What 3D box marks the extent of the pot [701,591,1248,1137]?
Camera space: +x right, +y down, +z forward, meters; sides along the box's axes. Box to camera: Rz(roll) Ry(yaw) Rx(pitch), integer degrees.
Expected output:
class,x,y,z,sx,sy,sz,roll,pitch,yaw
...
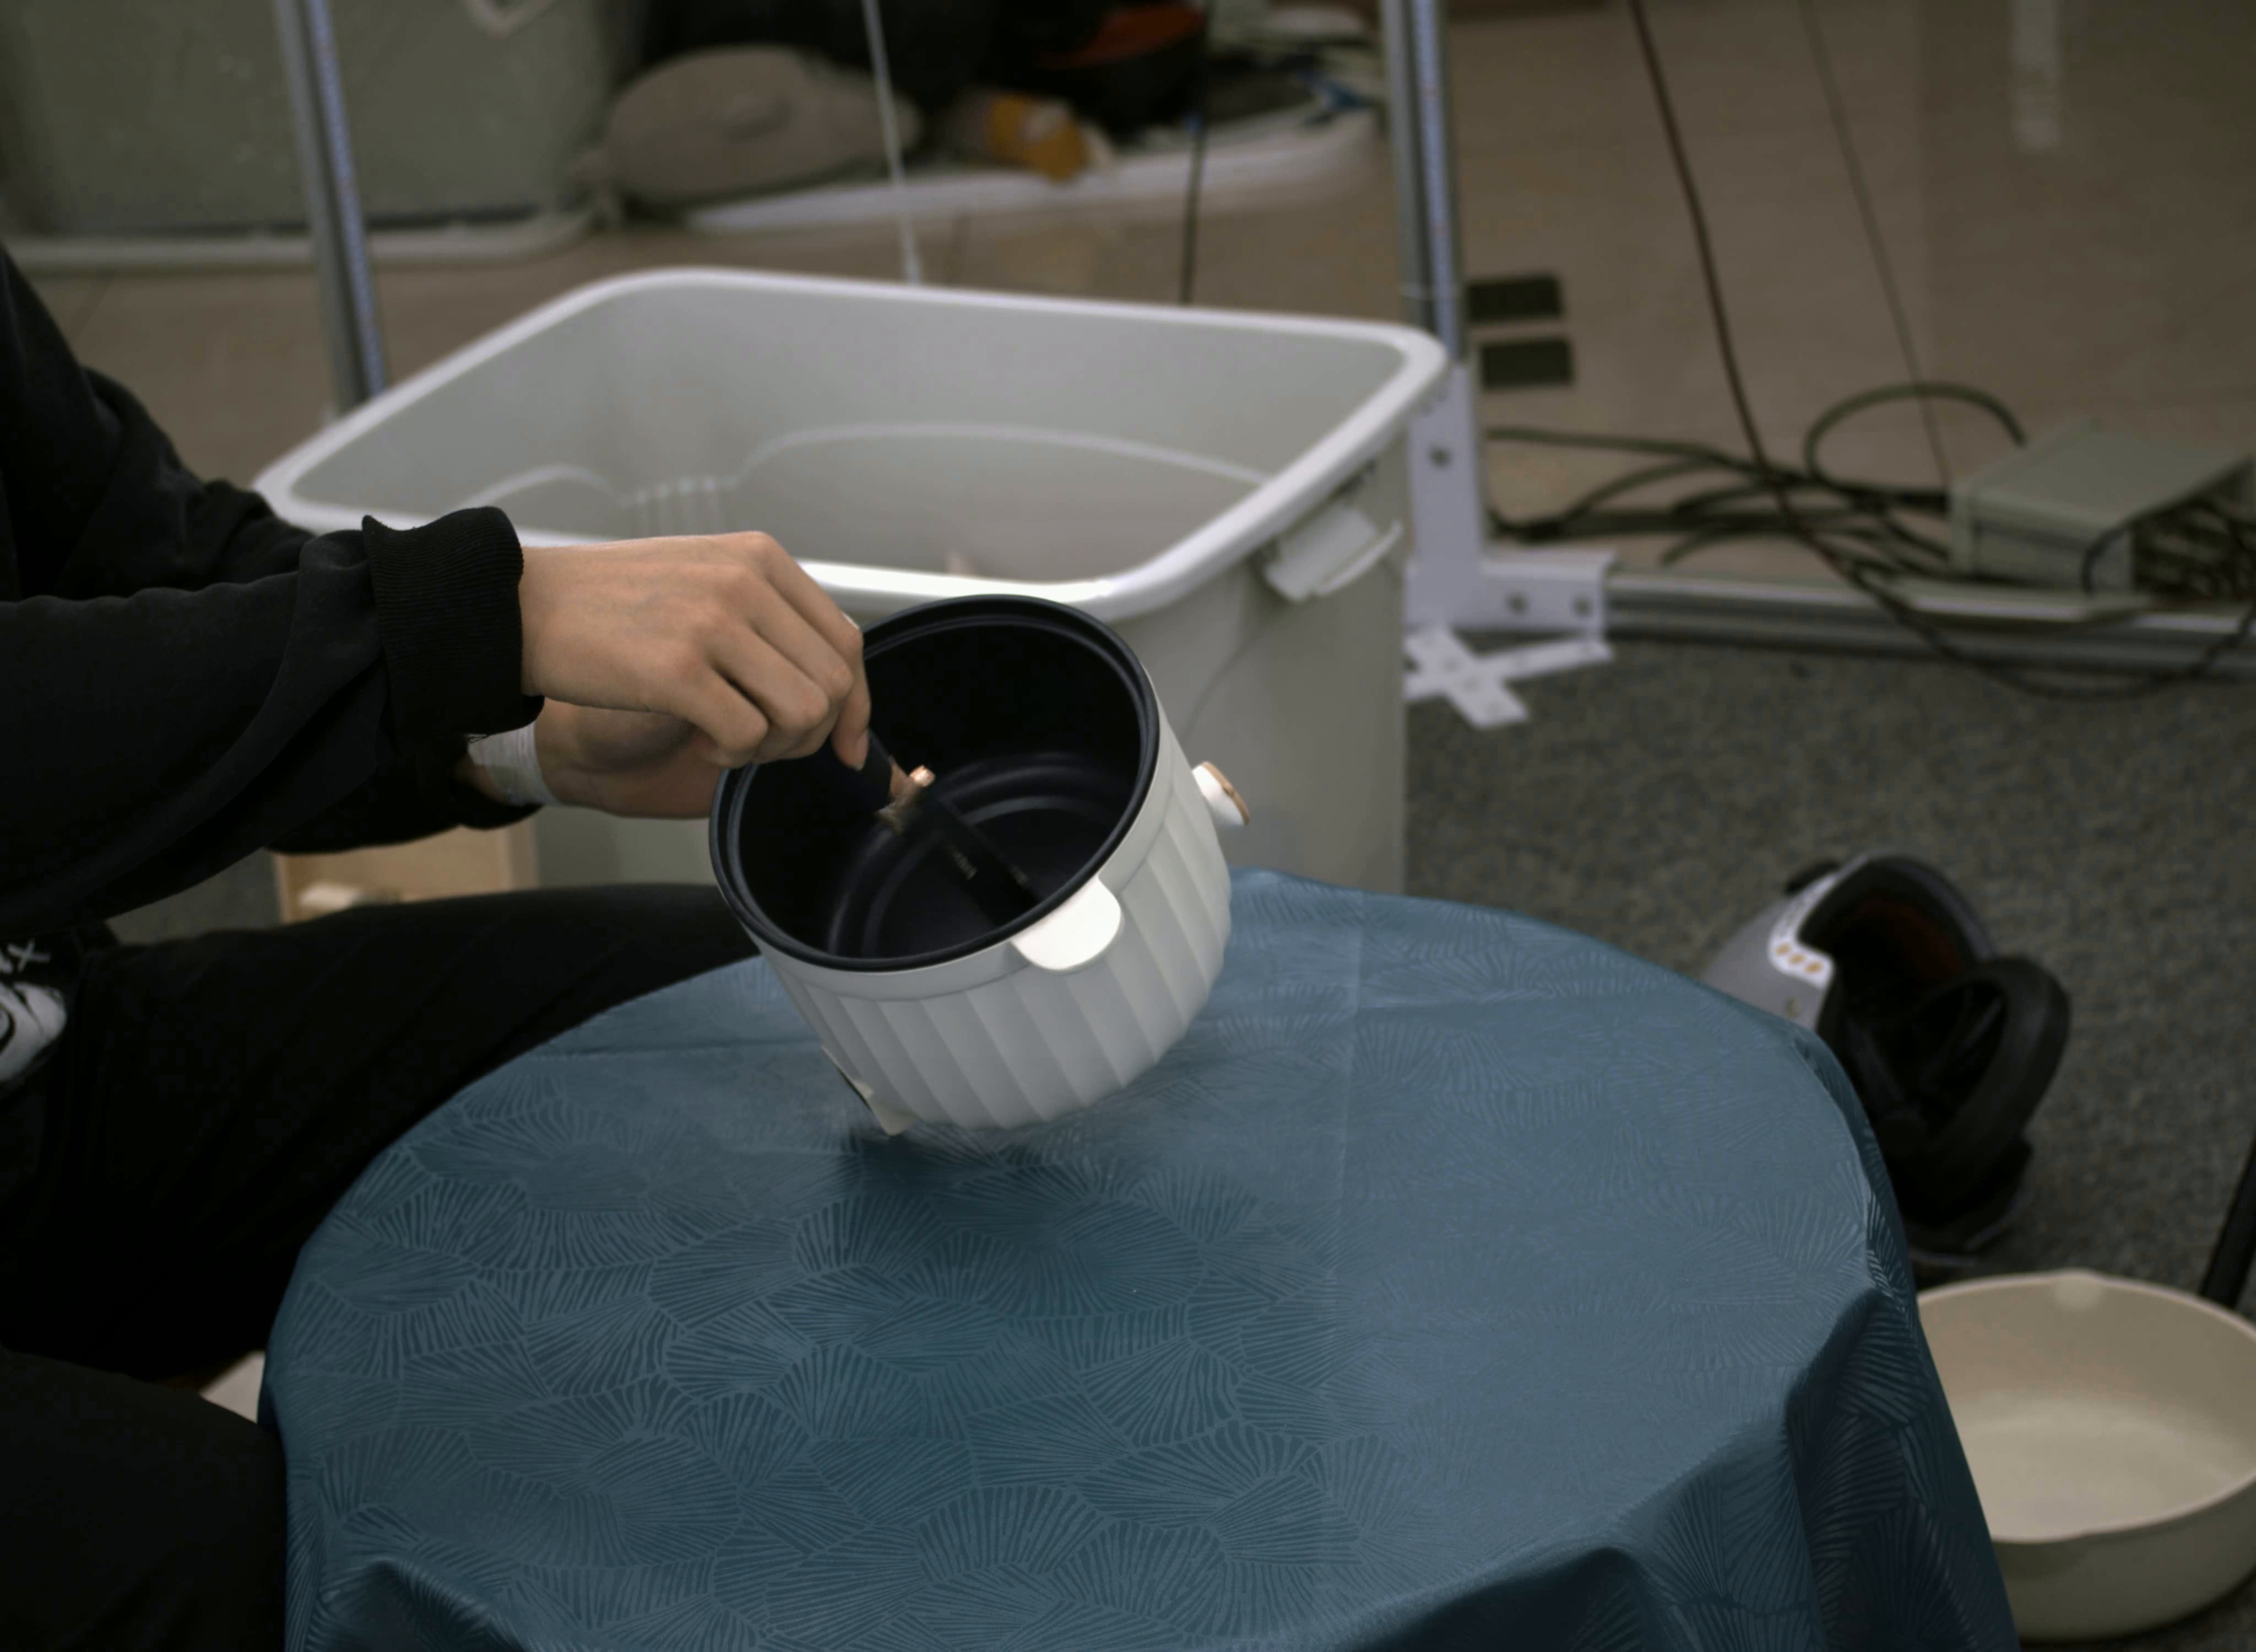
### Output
class,x,y,z,sx,sy,sz,roll,pitch,yaw
pot,-0.050,0.017,2.188,0.190,0.145,0.237,-39,49,-6

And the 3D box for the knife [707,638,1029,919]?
class,x,y,z,sx,sy,sz,roll,pitch,yaw
knife,-0.081,-0.003,2.071,0.017,0.228,0.026,-13,50,33
